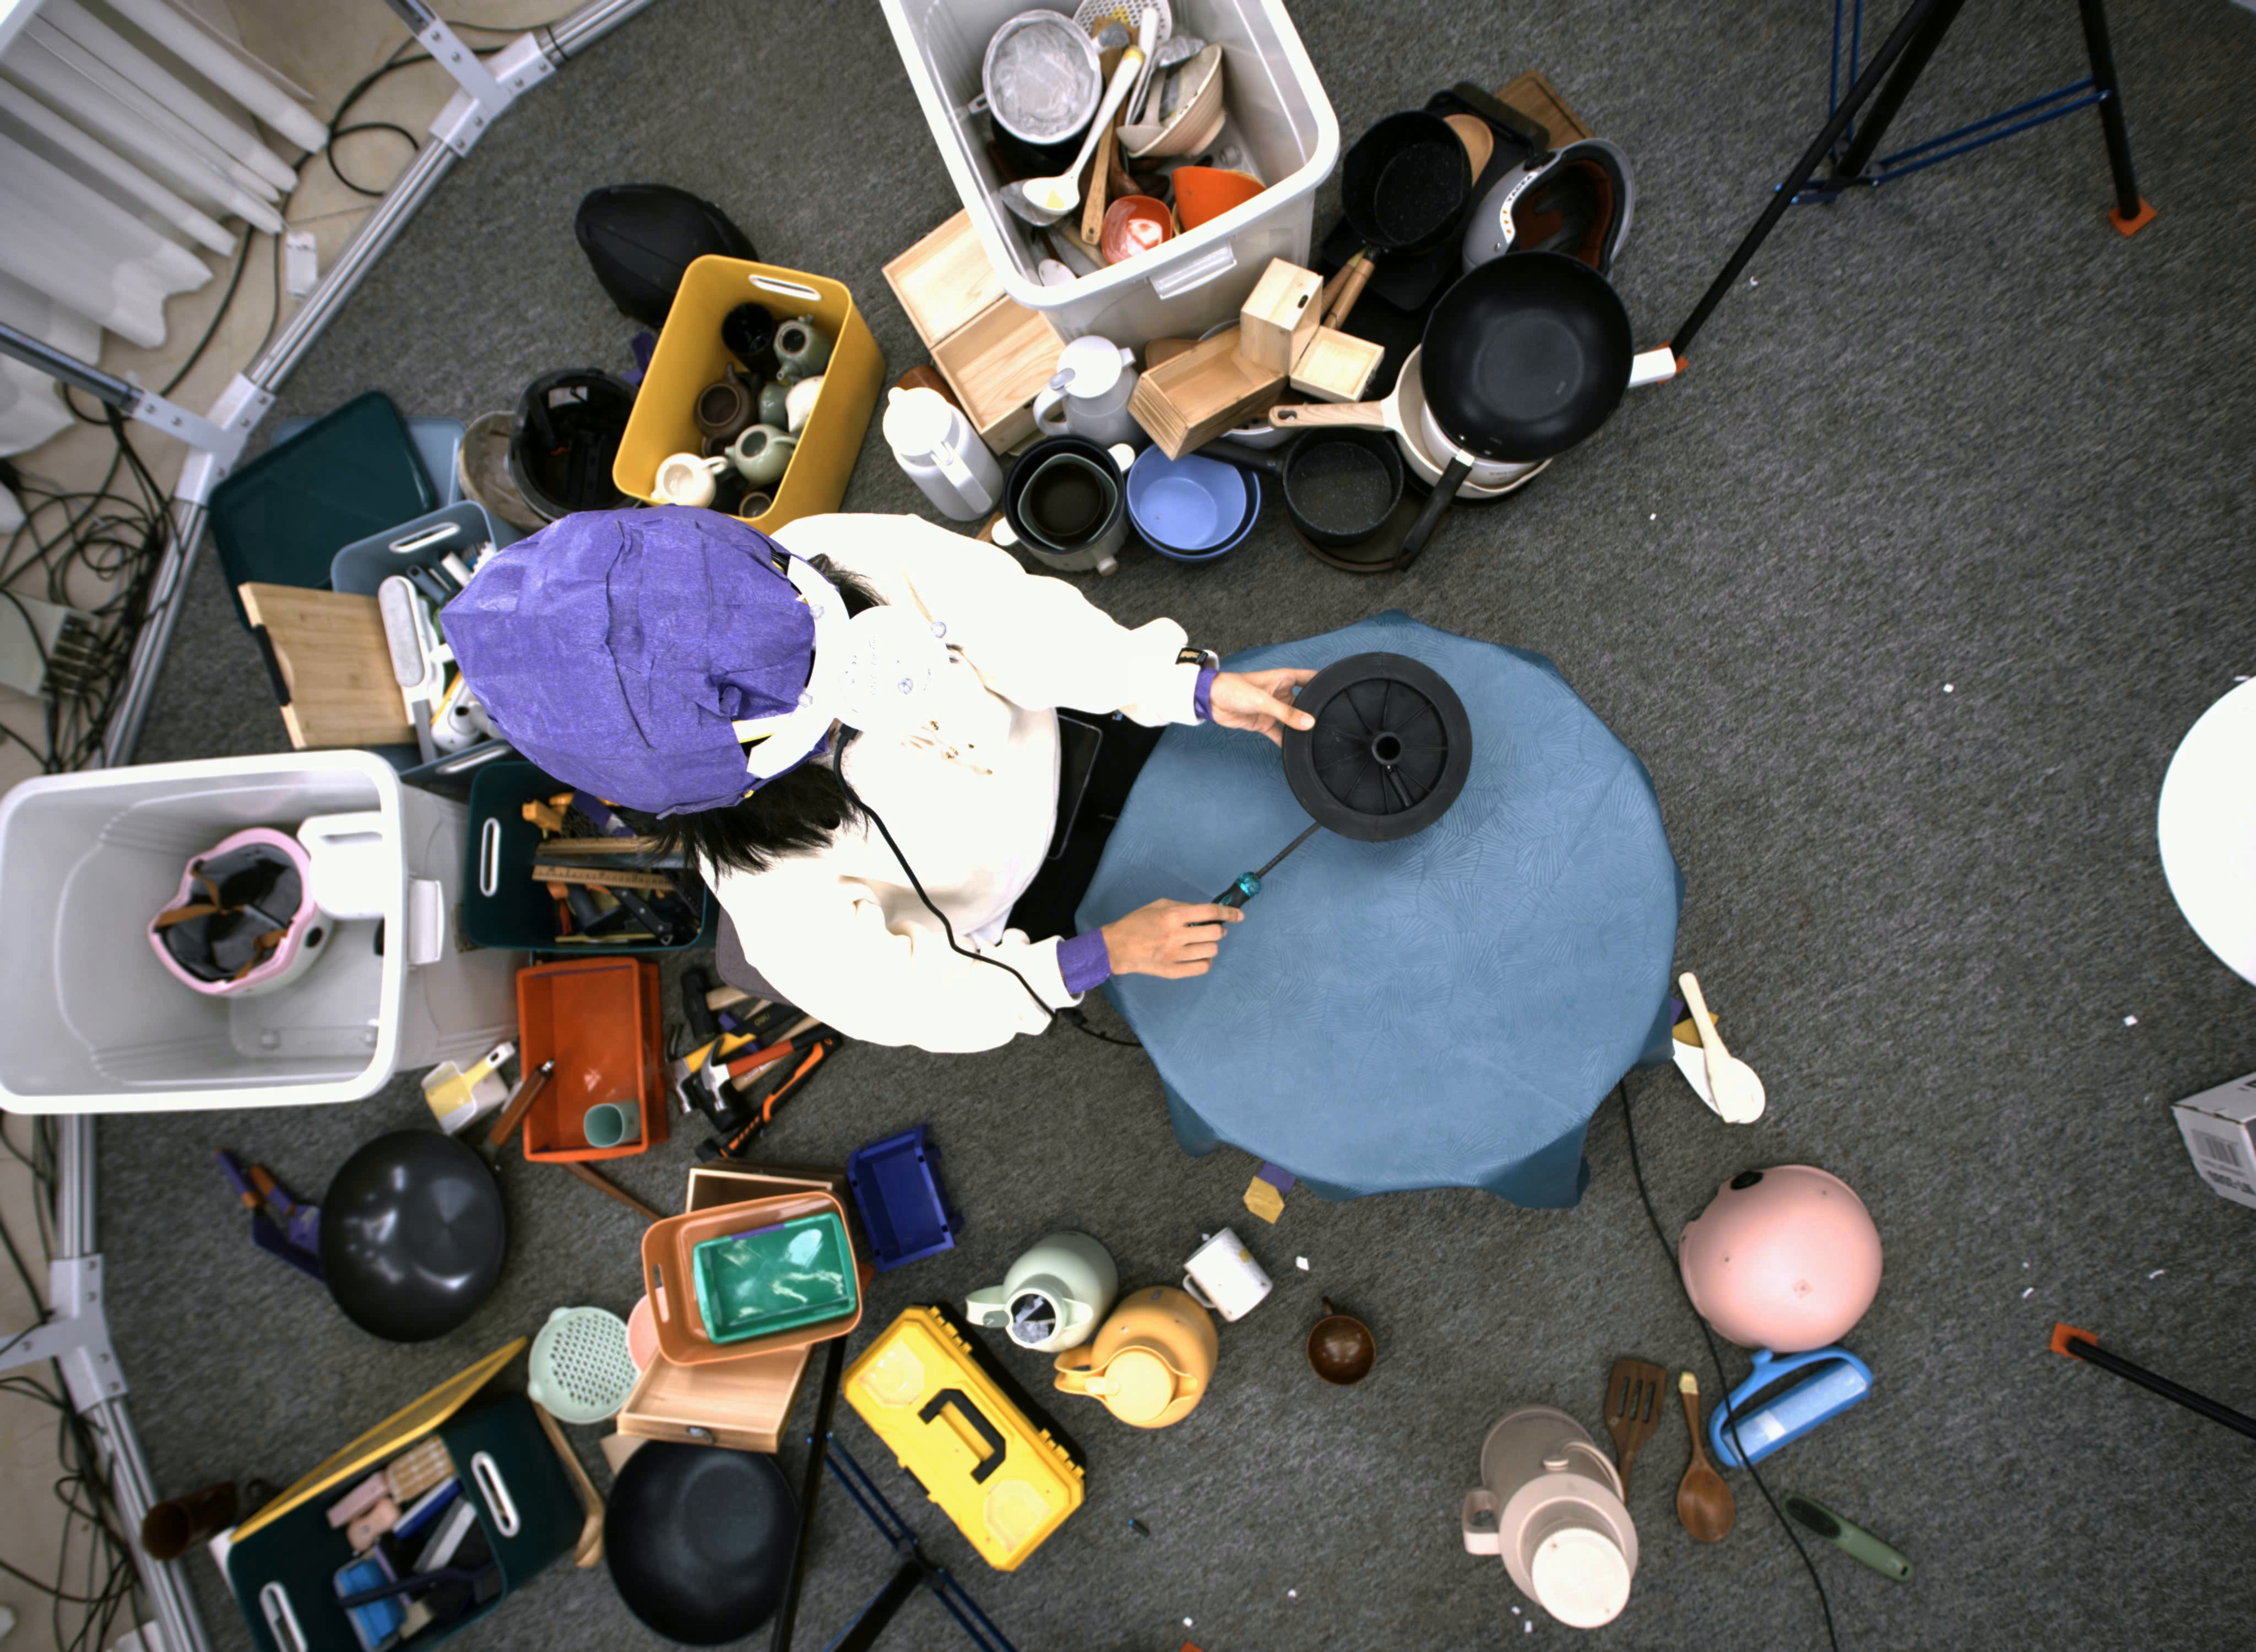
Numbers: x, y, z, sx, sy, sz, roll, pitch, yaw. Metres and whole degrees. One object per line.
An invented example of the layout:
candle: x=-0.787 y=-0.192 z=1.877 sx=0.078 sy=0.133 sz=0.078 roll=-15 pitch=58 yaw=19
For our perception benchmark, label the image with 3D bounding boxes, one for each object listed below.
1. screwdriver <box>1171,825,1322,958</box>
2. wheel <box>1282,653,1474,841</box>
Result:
screwdriver: x=0.120 y=0.063 z=1.379 sx=0.190 sy=0.034 sz=0.033 roll=-41 pitch=80 yaw=4
wheel: x=0.248 y=-0.076 z=1.343 sx=0.190 sy=0.078 sz=0.188 roll=37 pitch=96 yaw=-6
